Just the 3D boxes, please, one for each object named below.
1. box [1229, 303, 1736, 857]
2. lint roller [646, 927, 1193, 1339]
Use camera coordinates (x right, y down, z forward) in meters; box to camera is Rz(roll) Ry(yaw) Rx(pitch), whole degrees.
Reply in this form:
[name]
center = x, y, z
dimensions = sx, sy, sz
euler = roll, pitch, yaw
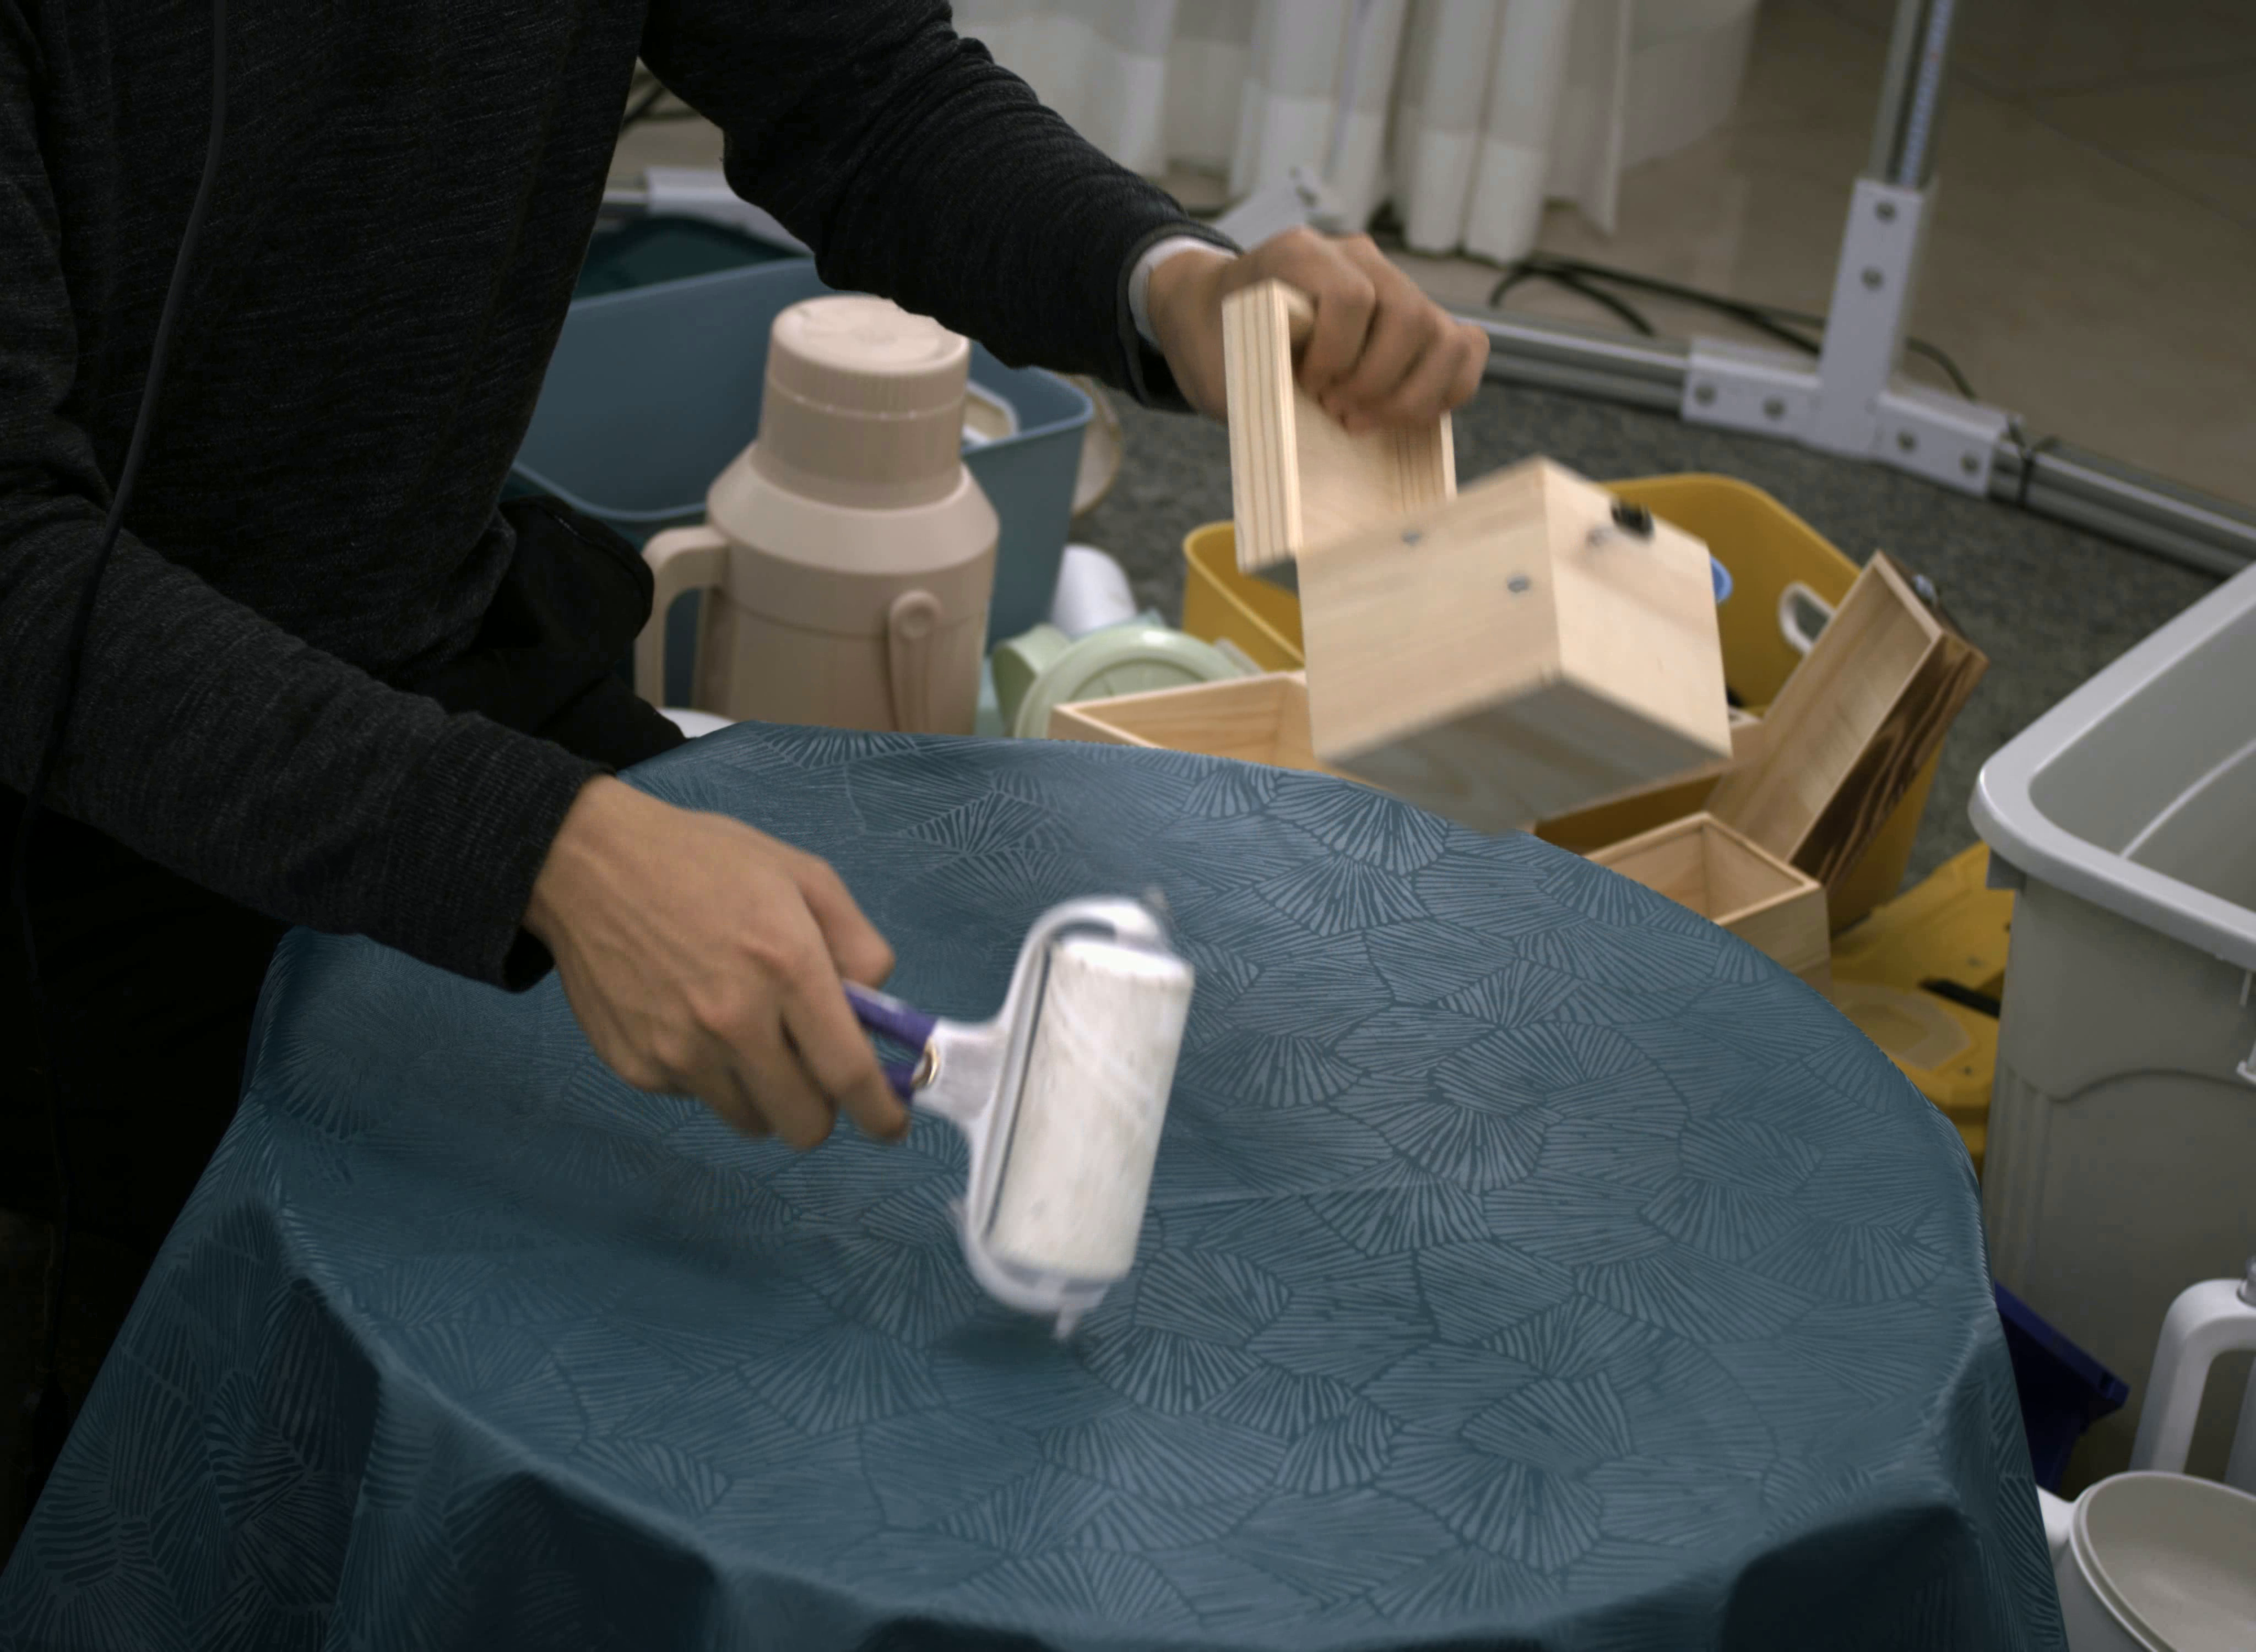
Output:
[box]
center = 0.120, -0.097, 1.804
dimensions = 0.134, 0.186, 0.101
euler = -20, -27, 35
[lint roller]
center = -0.075, 0.079, 1.709
dimensions = 0.181, 0.133, 0.050
euler = 18, 1, 12
